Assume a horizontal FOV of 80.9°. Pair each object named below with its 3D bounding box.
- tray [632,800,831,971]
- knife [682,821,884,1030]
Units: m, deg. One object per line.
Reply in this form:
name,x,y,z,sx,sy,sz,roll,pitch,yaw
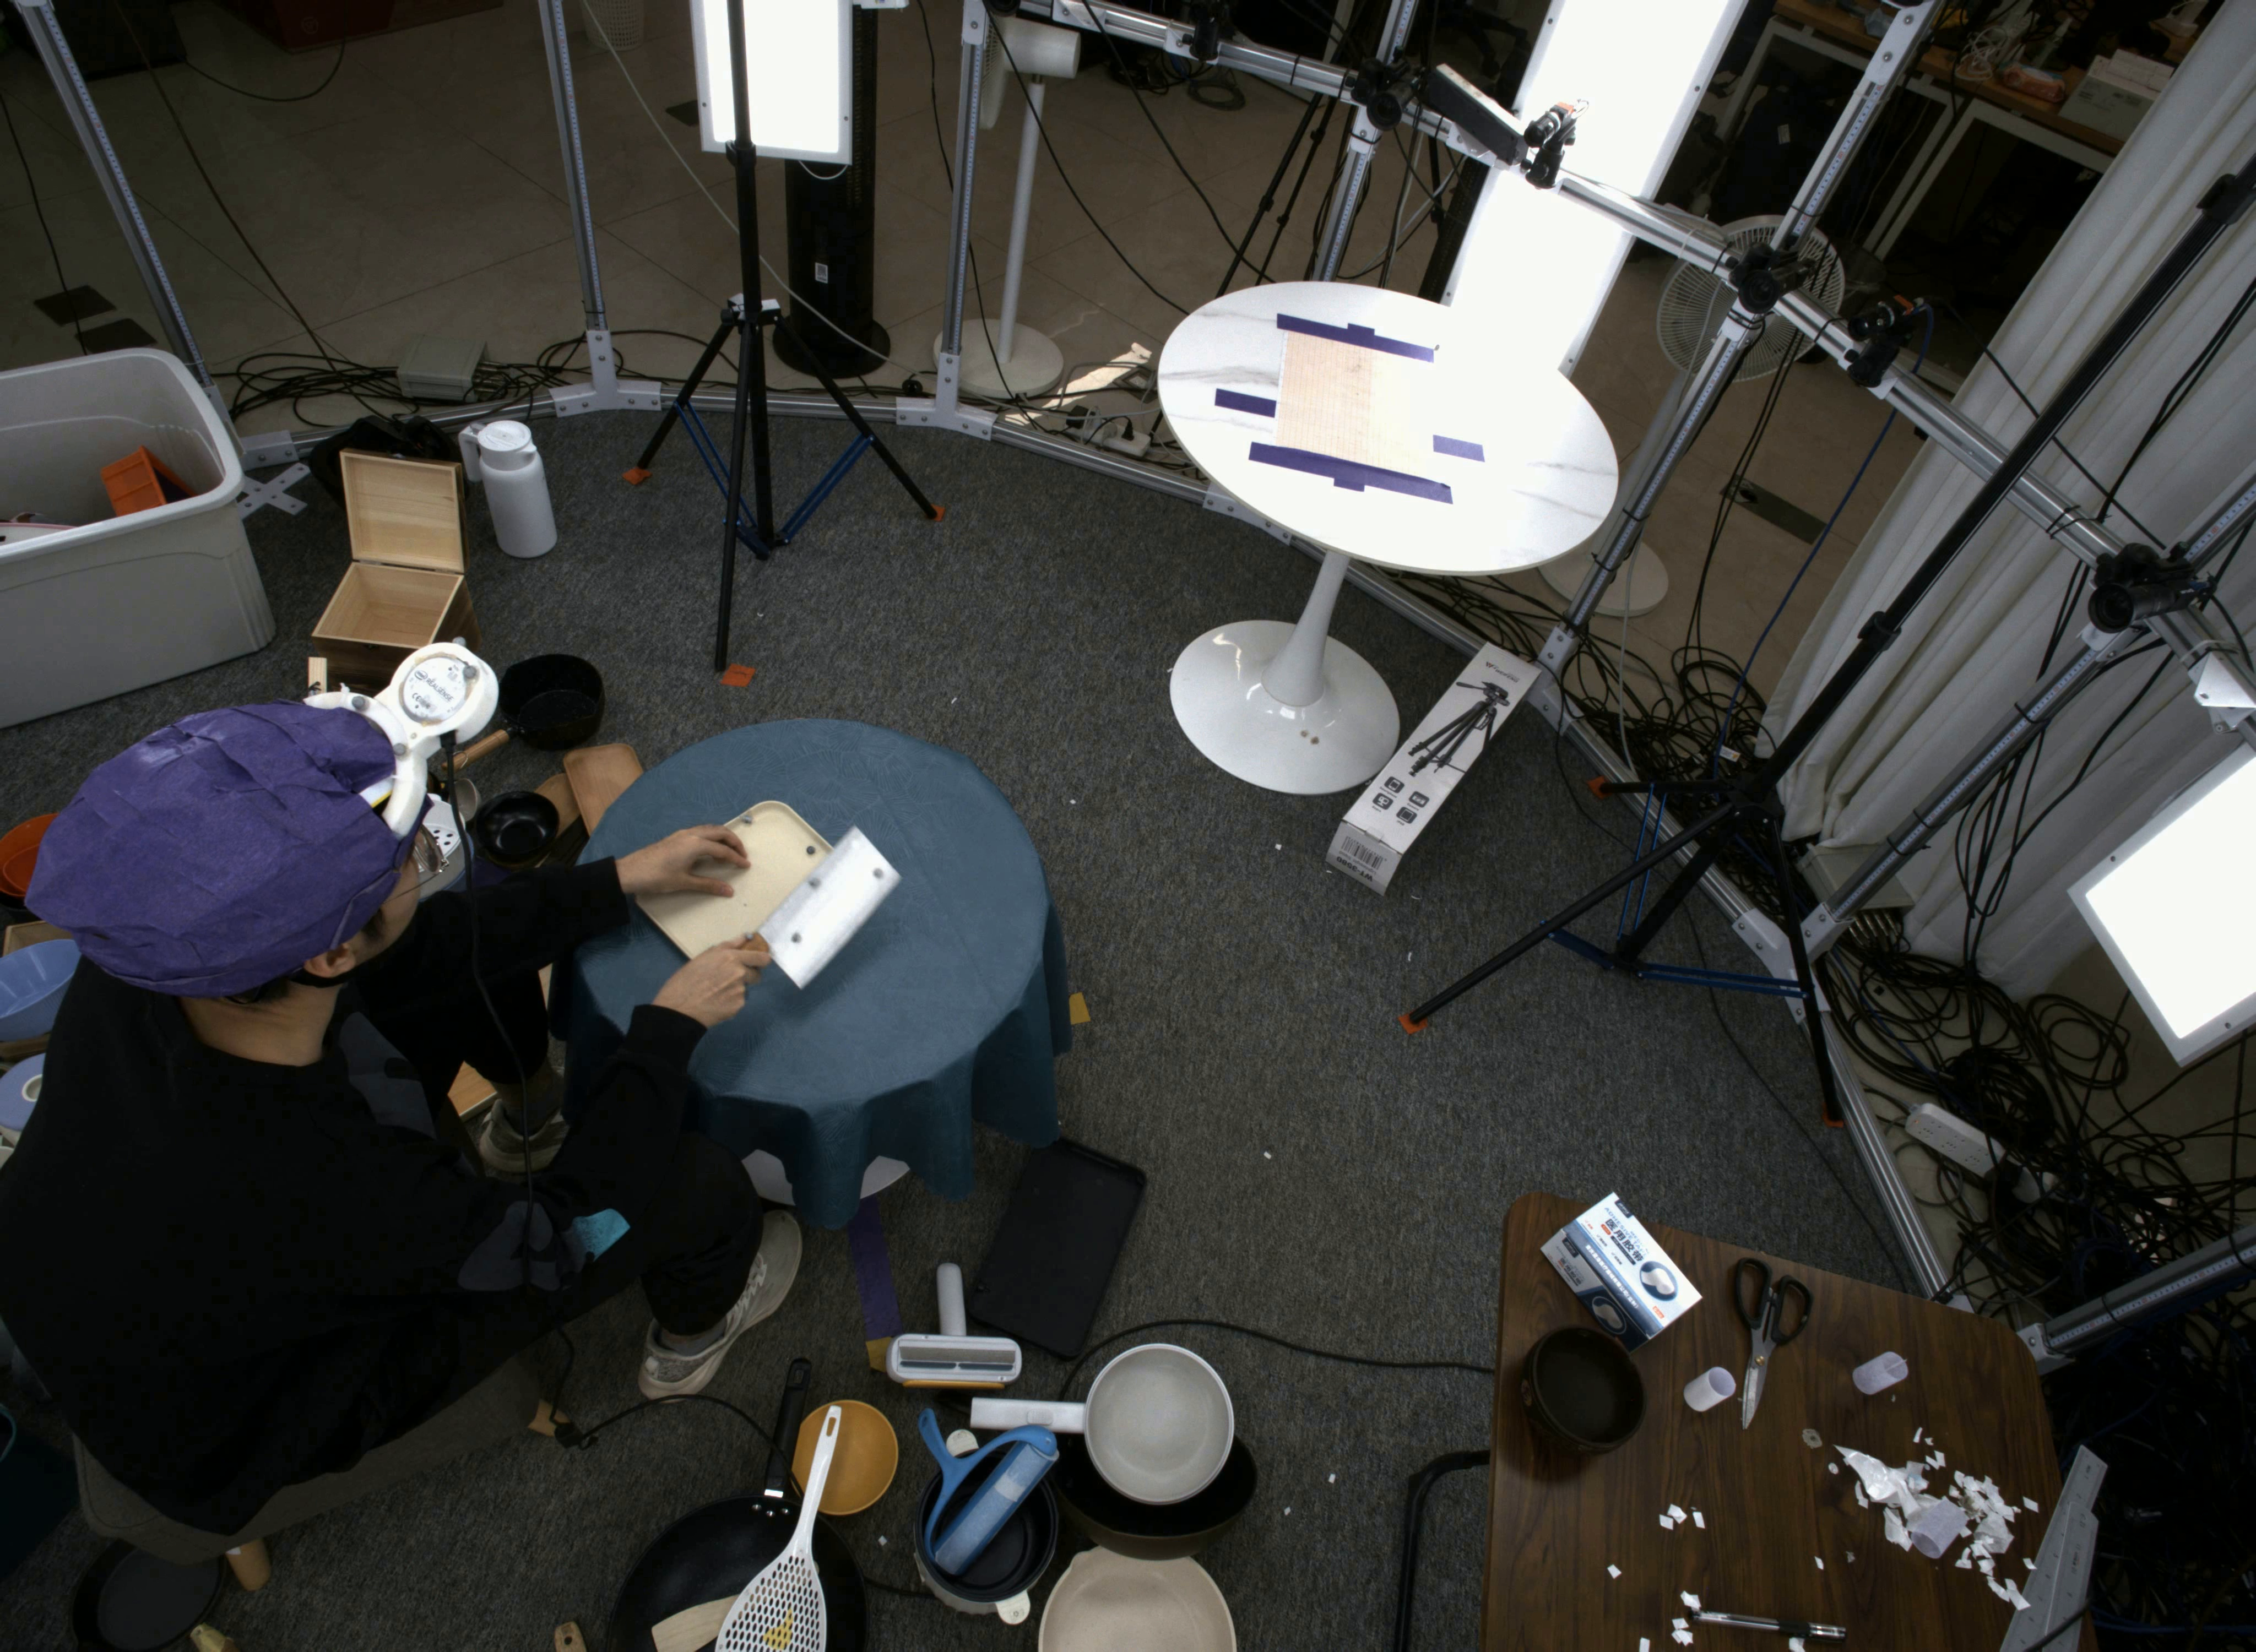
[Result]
tray,-0.488,0.071,1.631,0.168,0.018,0.240,42,54,15
knife,-0.395,0.128,1.520,0.305,0.020,0.096,-53,123,-28
